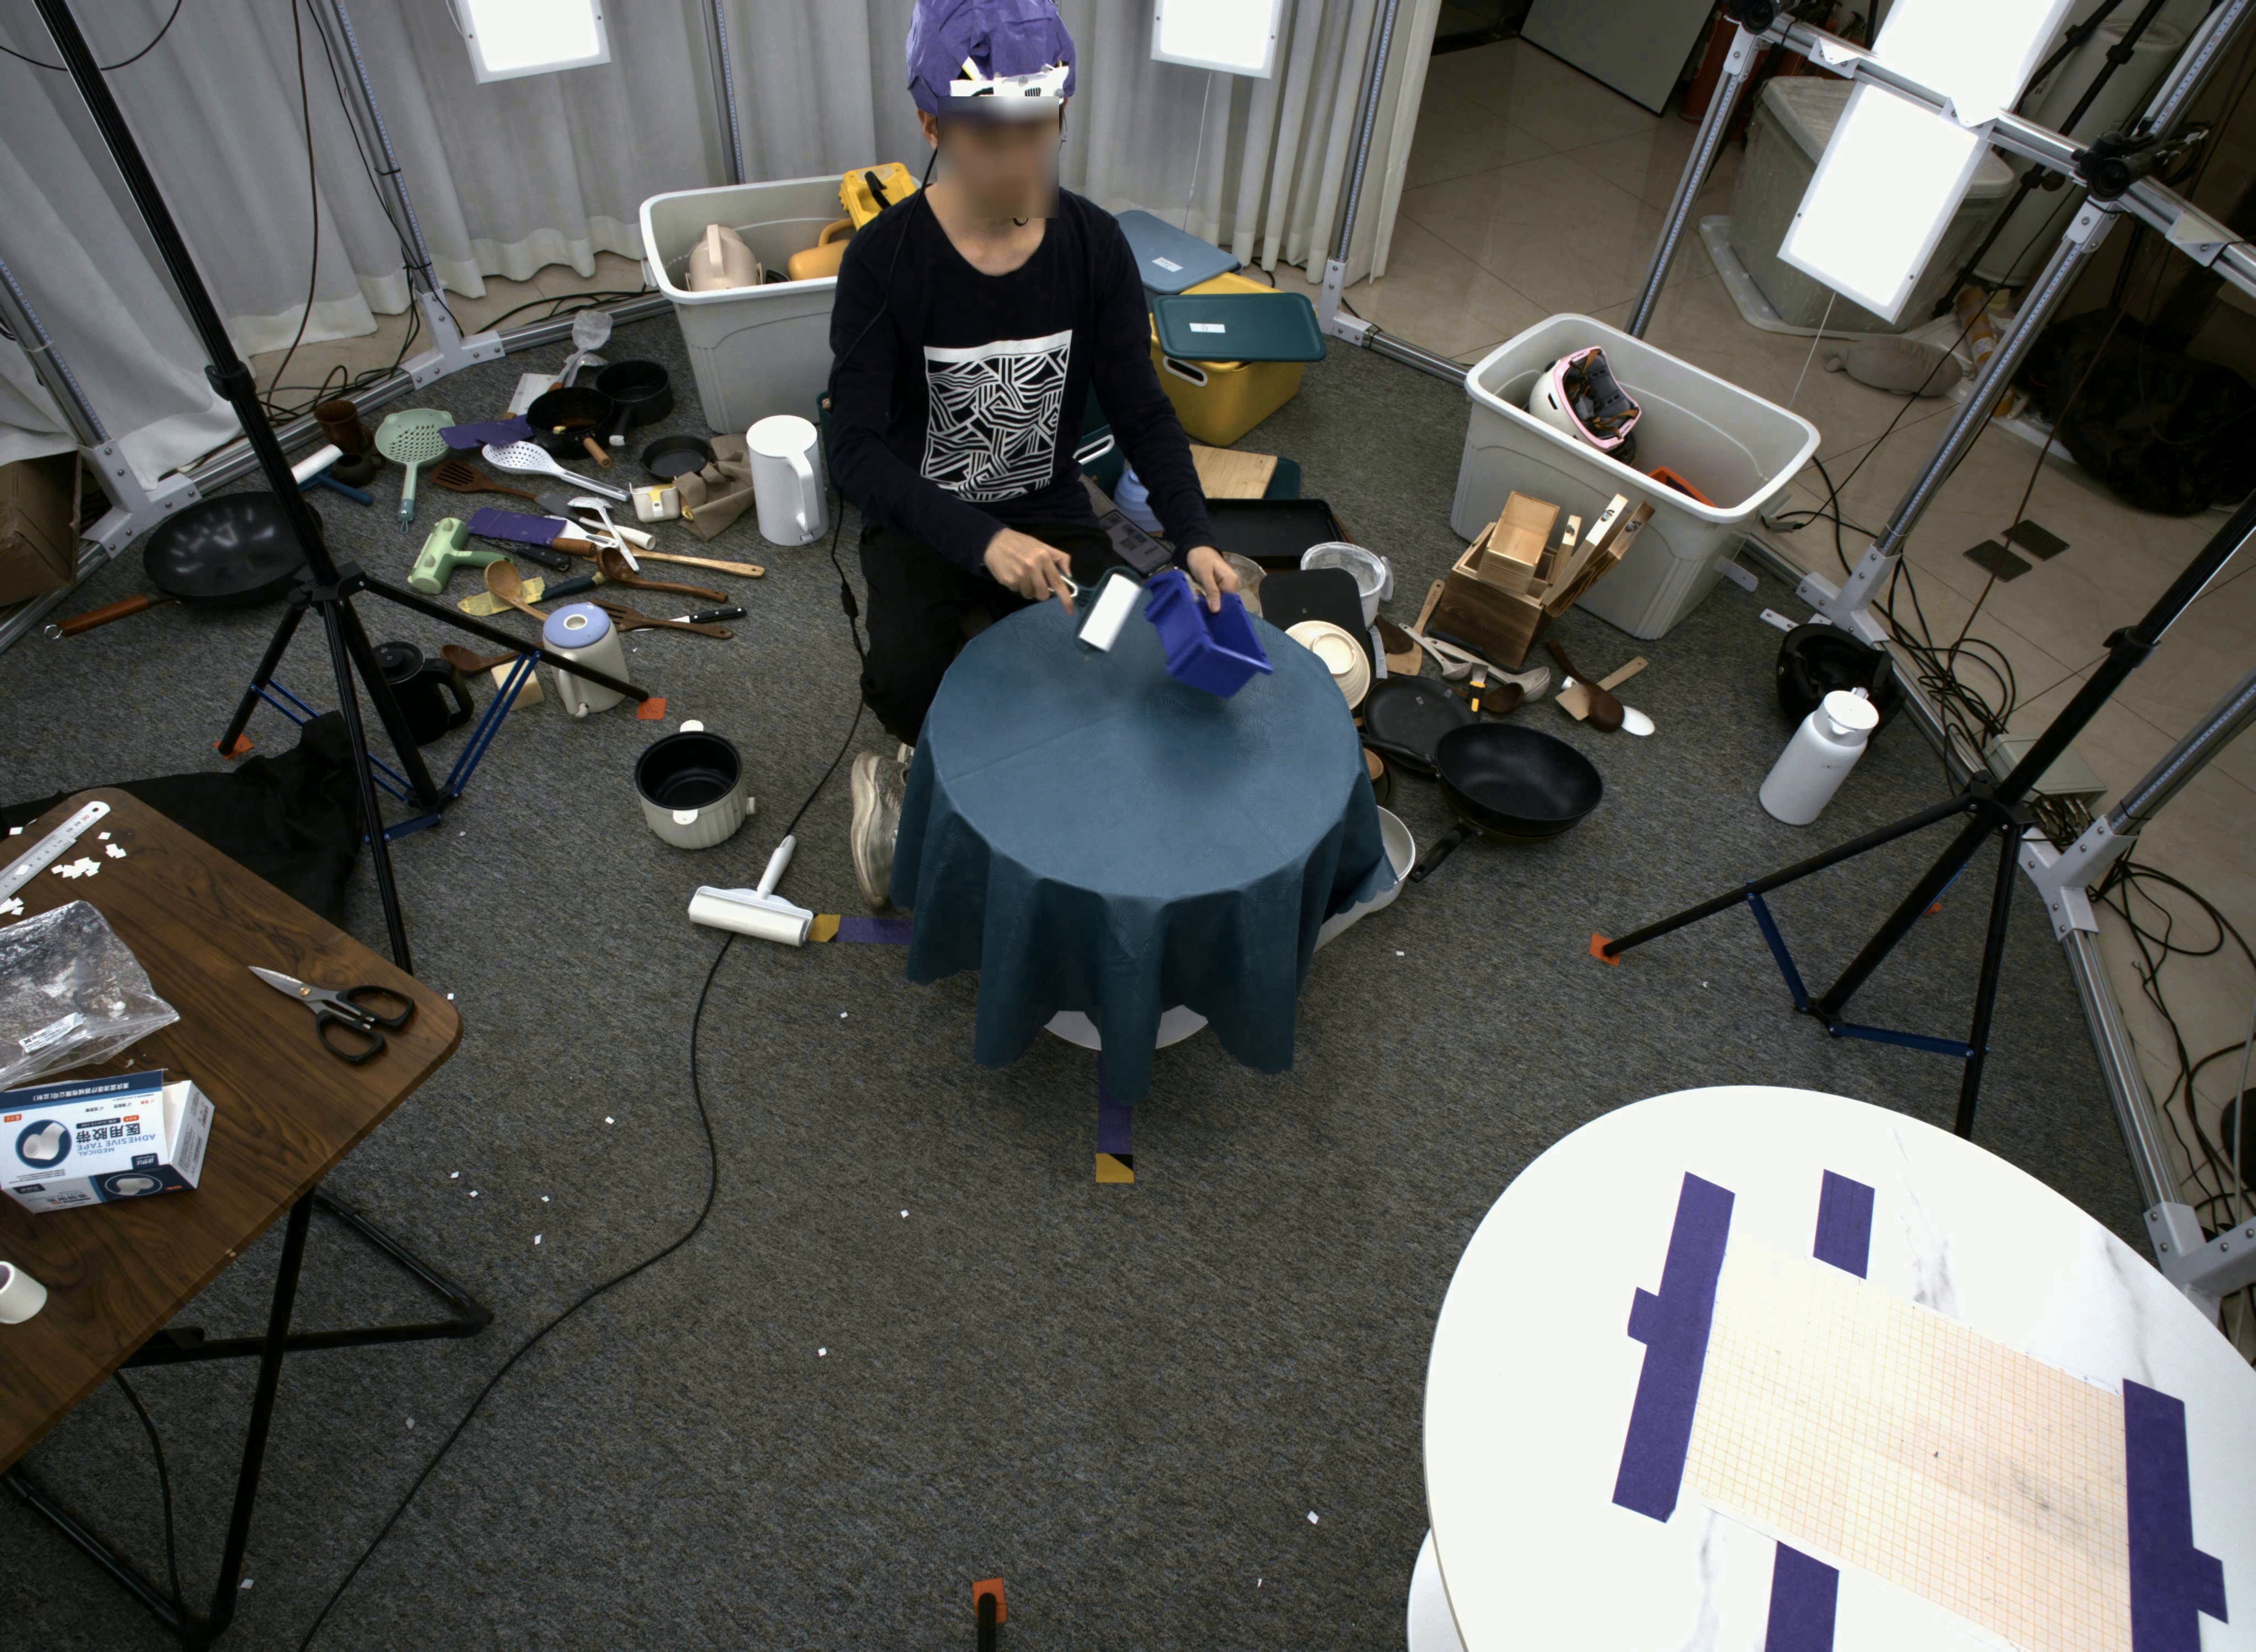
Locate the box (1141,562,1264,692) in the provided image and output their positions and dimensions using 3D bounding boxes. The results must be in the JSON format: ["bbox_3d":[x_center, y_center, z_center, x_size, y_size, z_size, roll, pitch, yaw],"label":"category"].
[{"bbox_3d":[0.095,-0.279,1.770,0.123,0.081,0.184,16,44,-34],"label":"box"}]

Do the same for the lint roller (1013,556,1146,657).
[{"bbox_3d":[-0.079,-0.328,1.781,0.180,0.048,0.134,27,93,0],"label":"lint roller"}]
